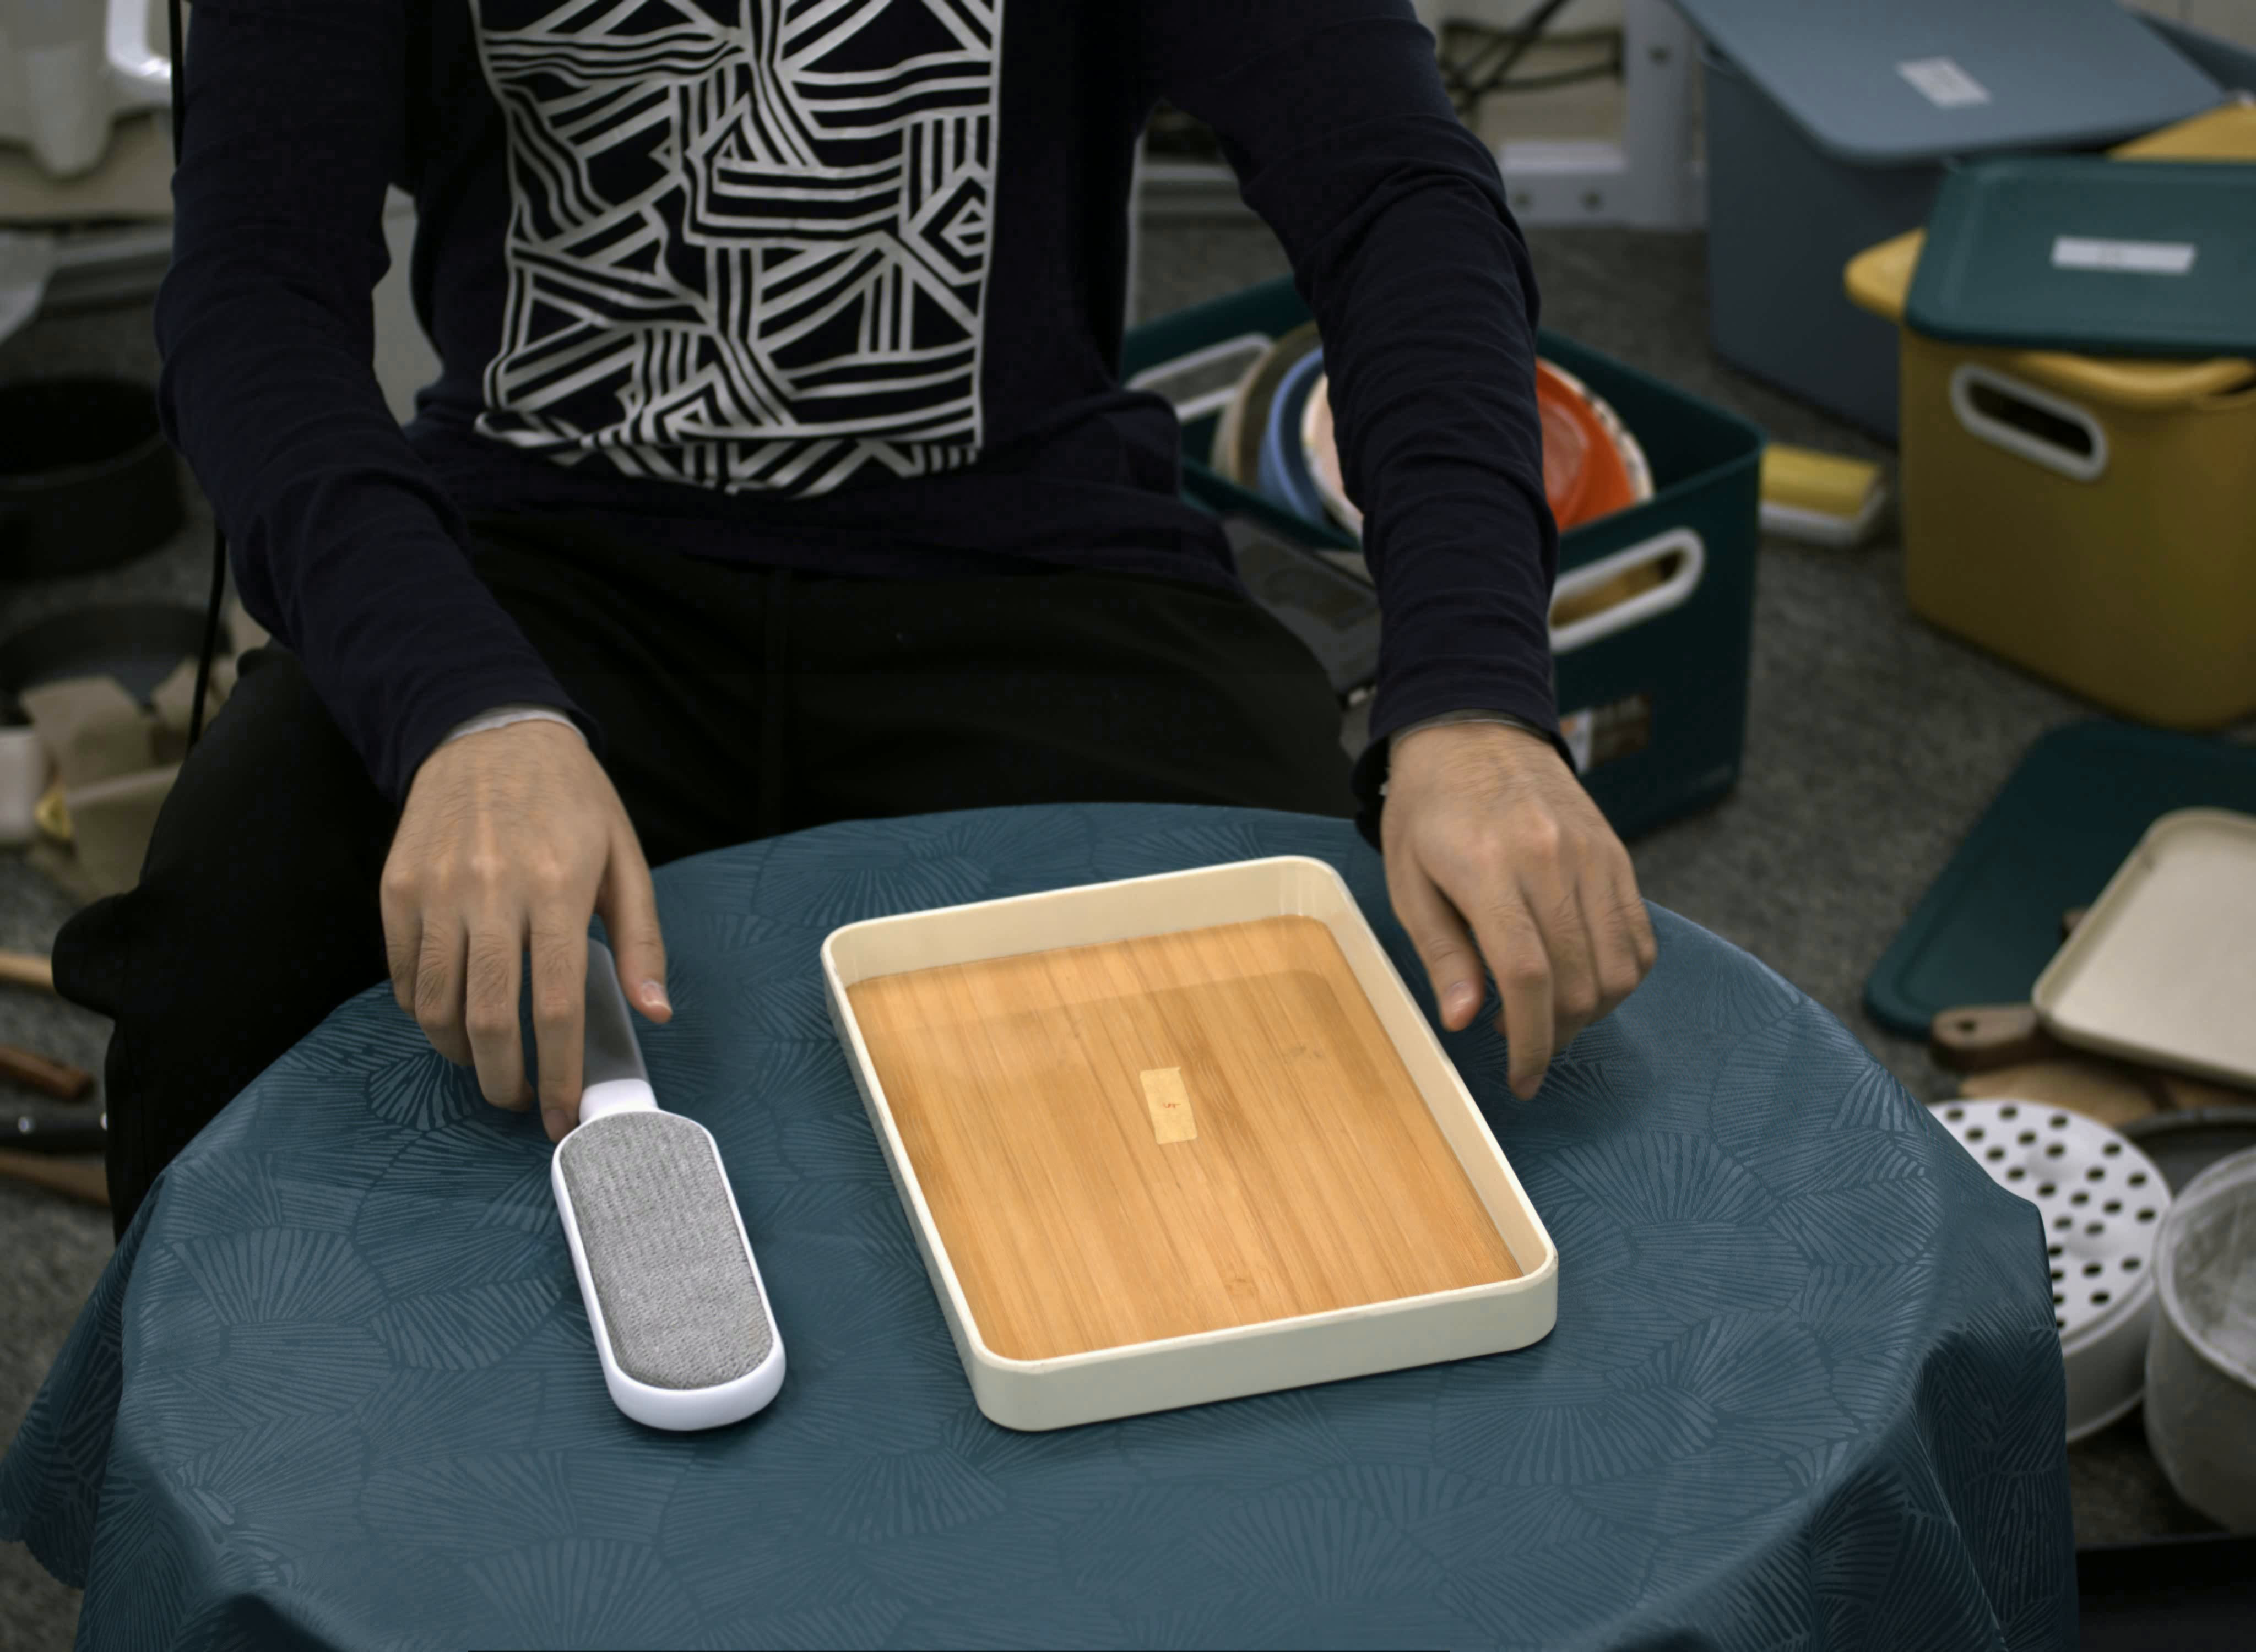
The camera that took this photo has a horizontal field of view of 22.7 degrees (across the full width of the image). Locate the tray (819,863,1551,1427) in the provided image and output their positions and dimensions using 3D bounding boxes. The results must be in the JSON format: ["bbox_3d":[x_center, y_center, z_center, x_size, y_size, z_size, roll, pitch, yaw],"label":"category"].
[{"bbox_3d":[0.013,0.100,1.874,0.191,0.027,0.303,-7,27,-10],"label":"tray"}]

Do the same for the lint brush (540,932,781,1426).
[{"bbox_3d":[-0.163,0.112,1.867,0.060,0.021,0.312,-13,28,-8],"label":"lint brush"}]
